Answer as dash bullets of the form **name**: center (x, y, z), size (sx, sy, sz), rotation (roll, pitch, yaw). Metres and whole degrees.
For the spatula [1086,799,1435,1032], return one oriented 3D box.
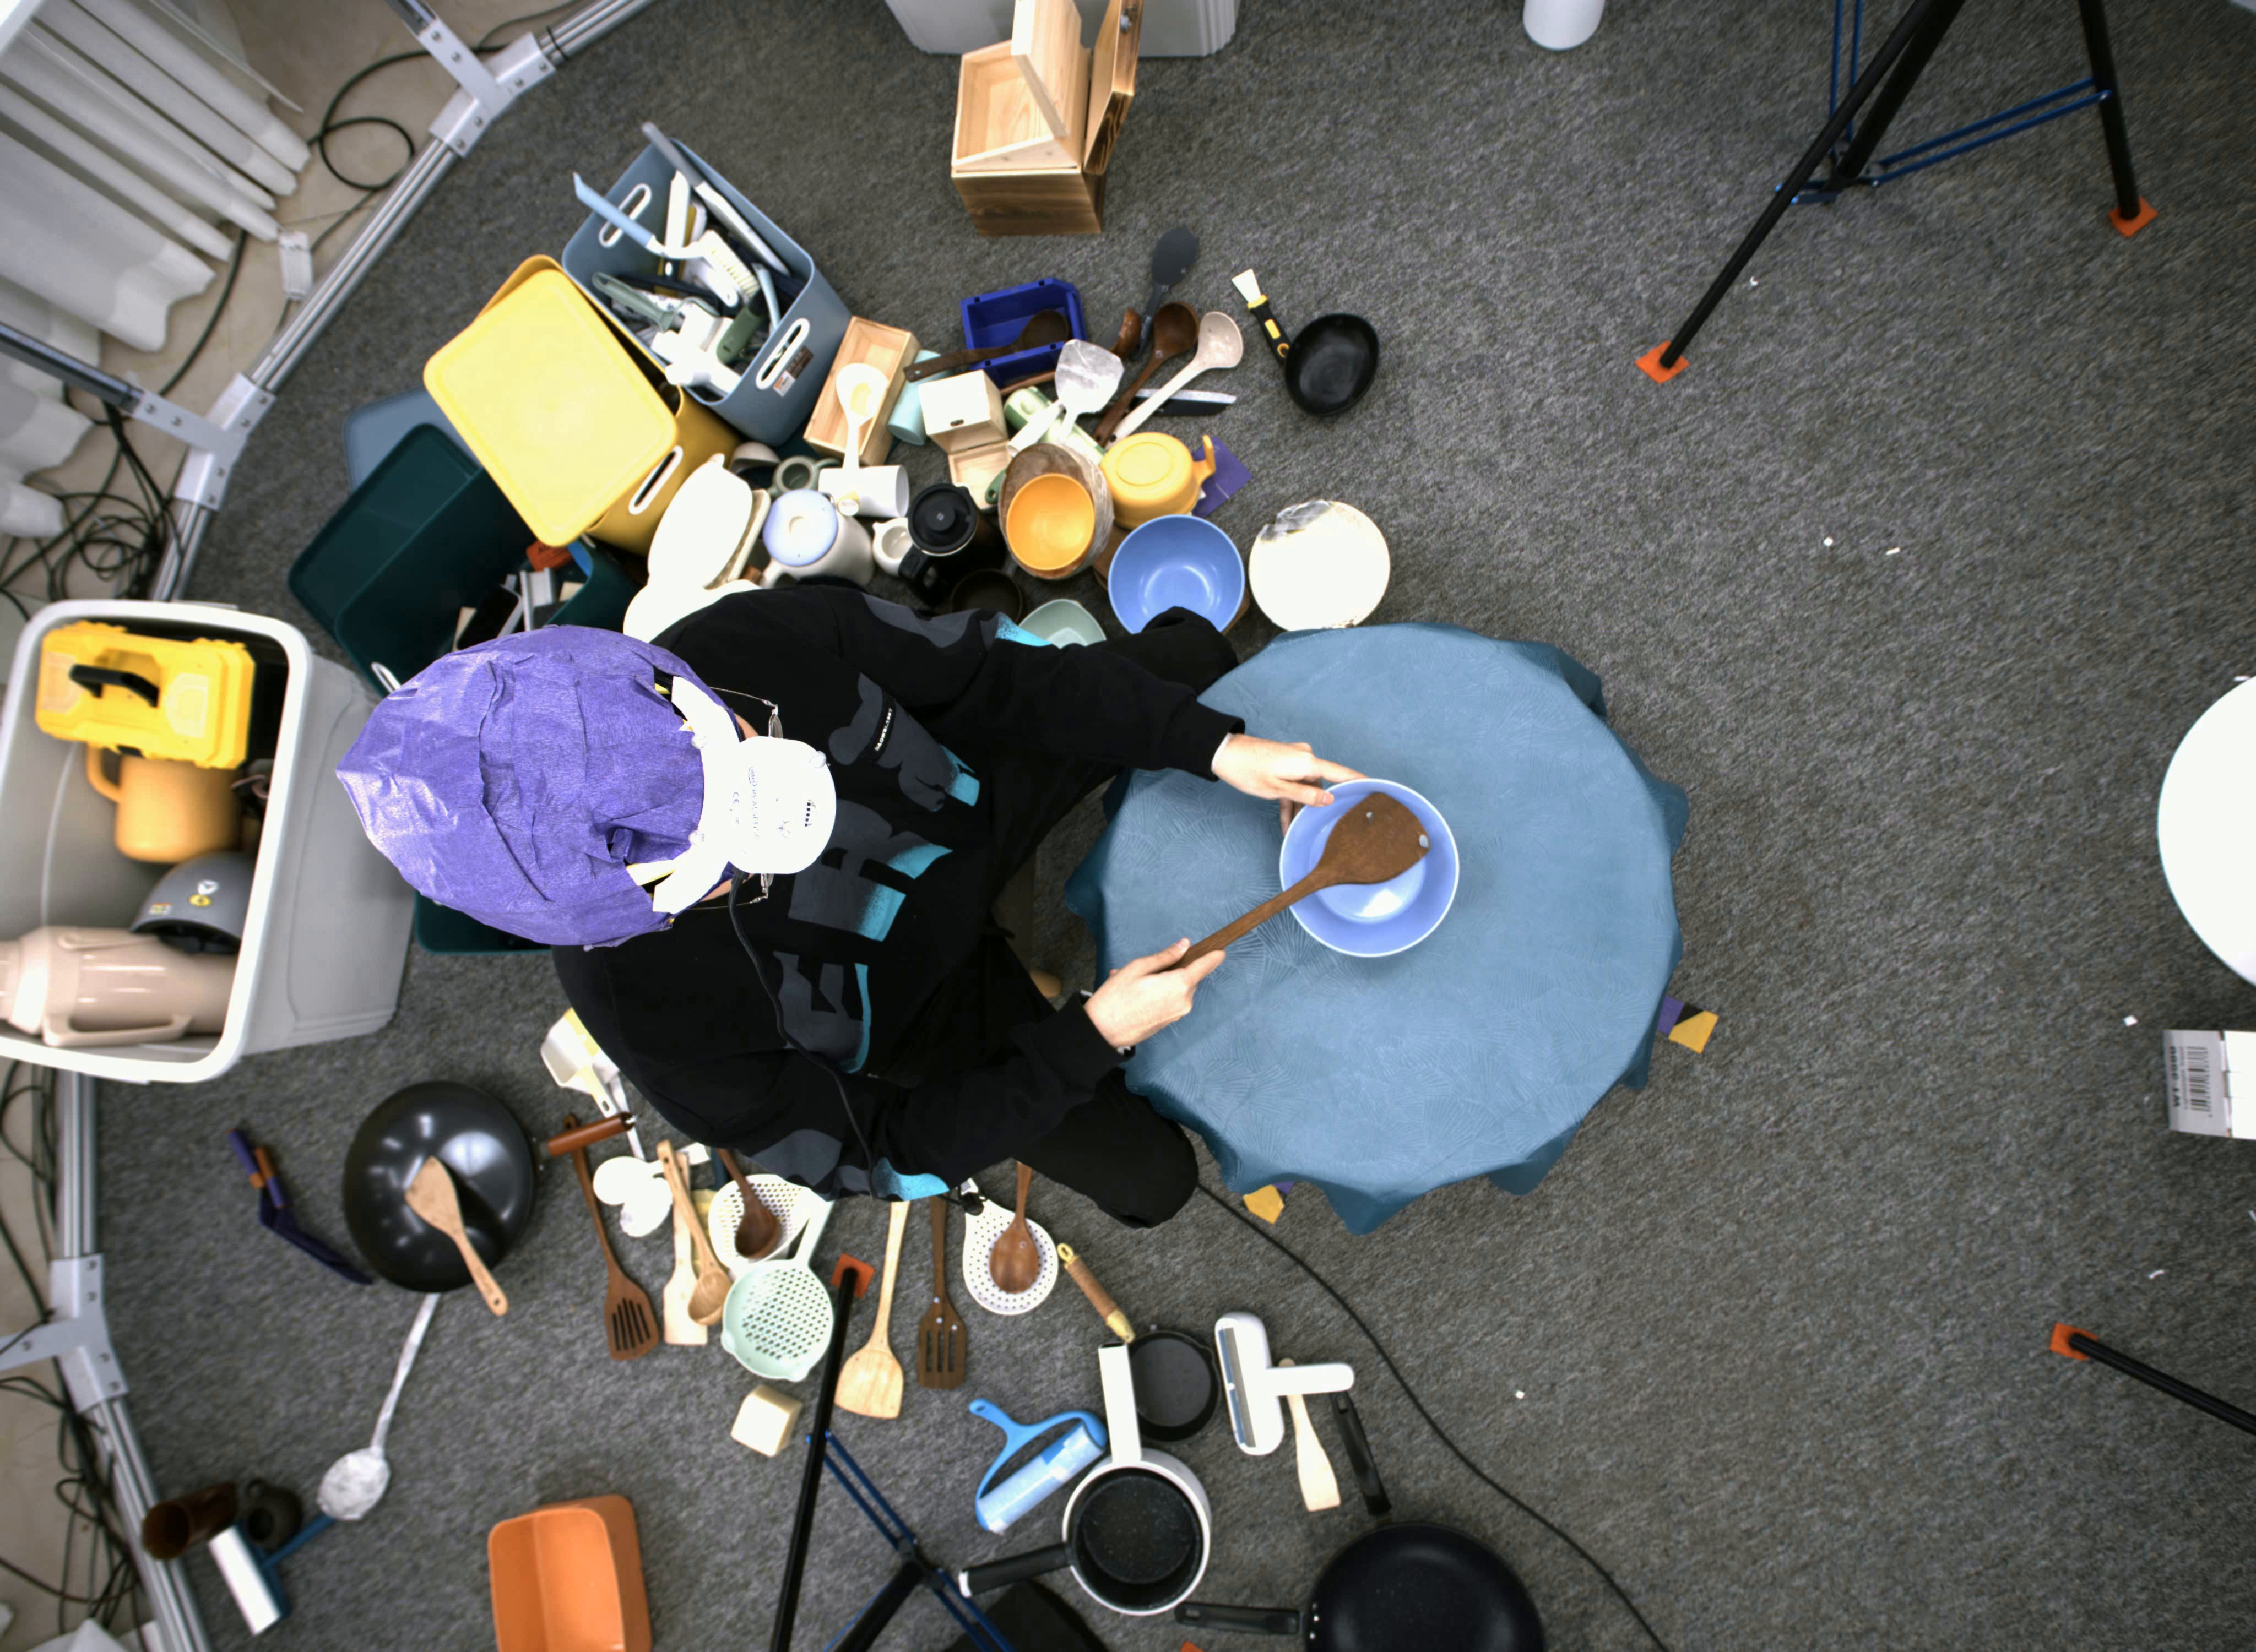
- **spatula**: center (0.125, 0.093, 1.349), size (0.384, 0.016, 0.094), rotation (-31, 53, -6)

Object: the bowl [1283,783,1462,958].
- **bowl**: center (0.247, 0.044, 1.400), size (0.177, 0.070, 0.176), rotation (0, 92, 10)
